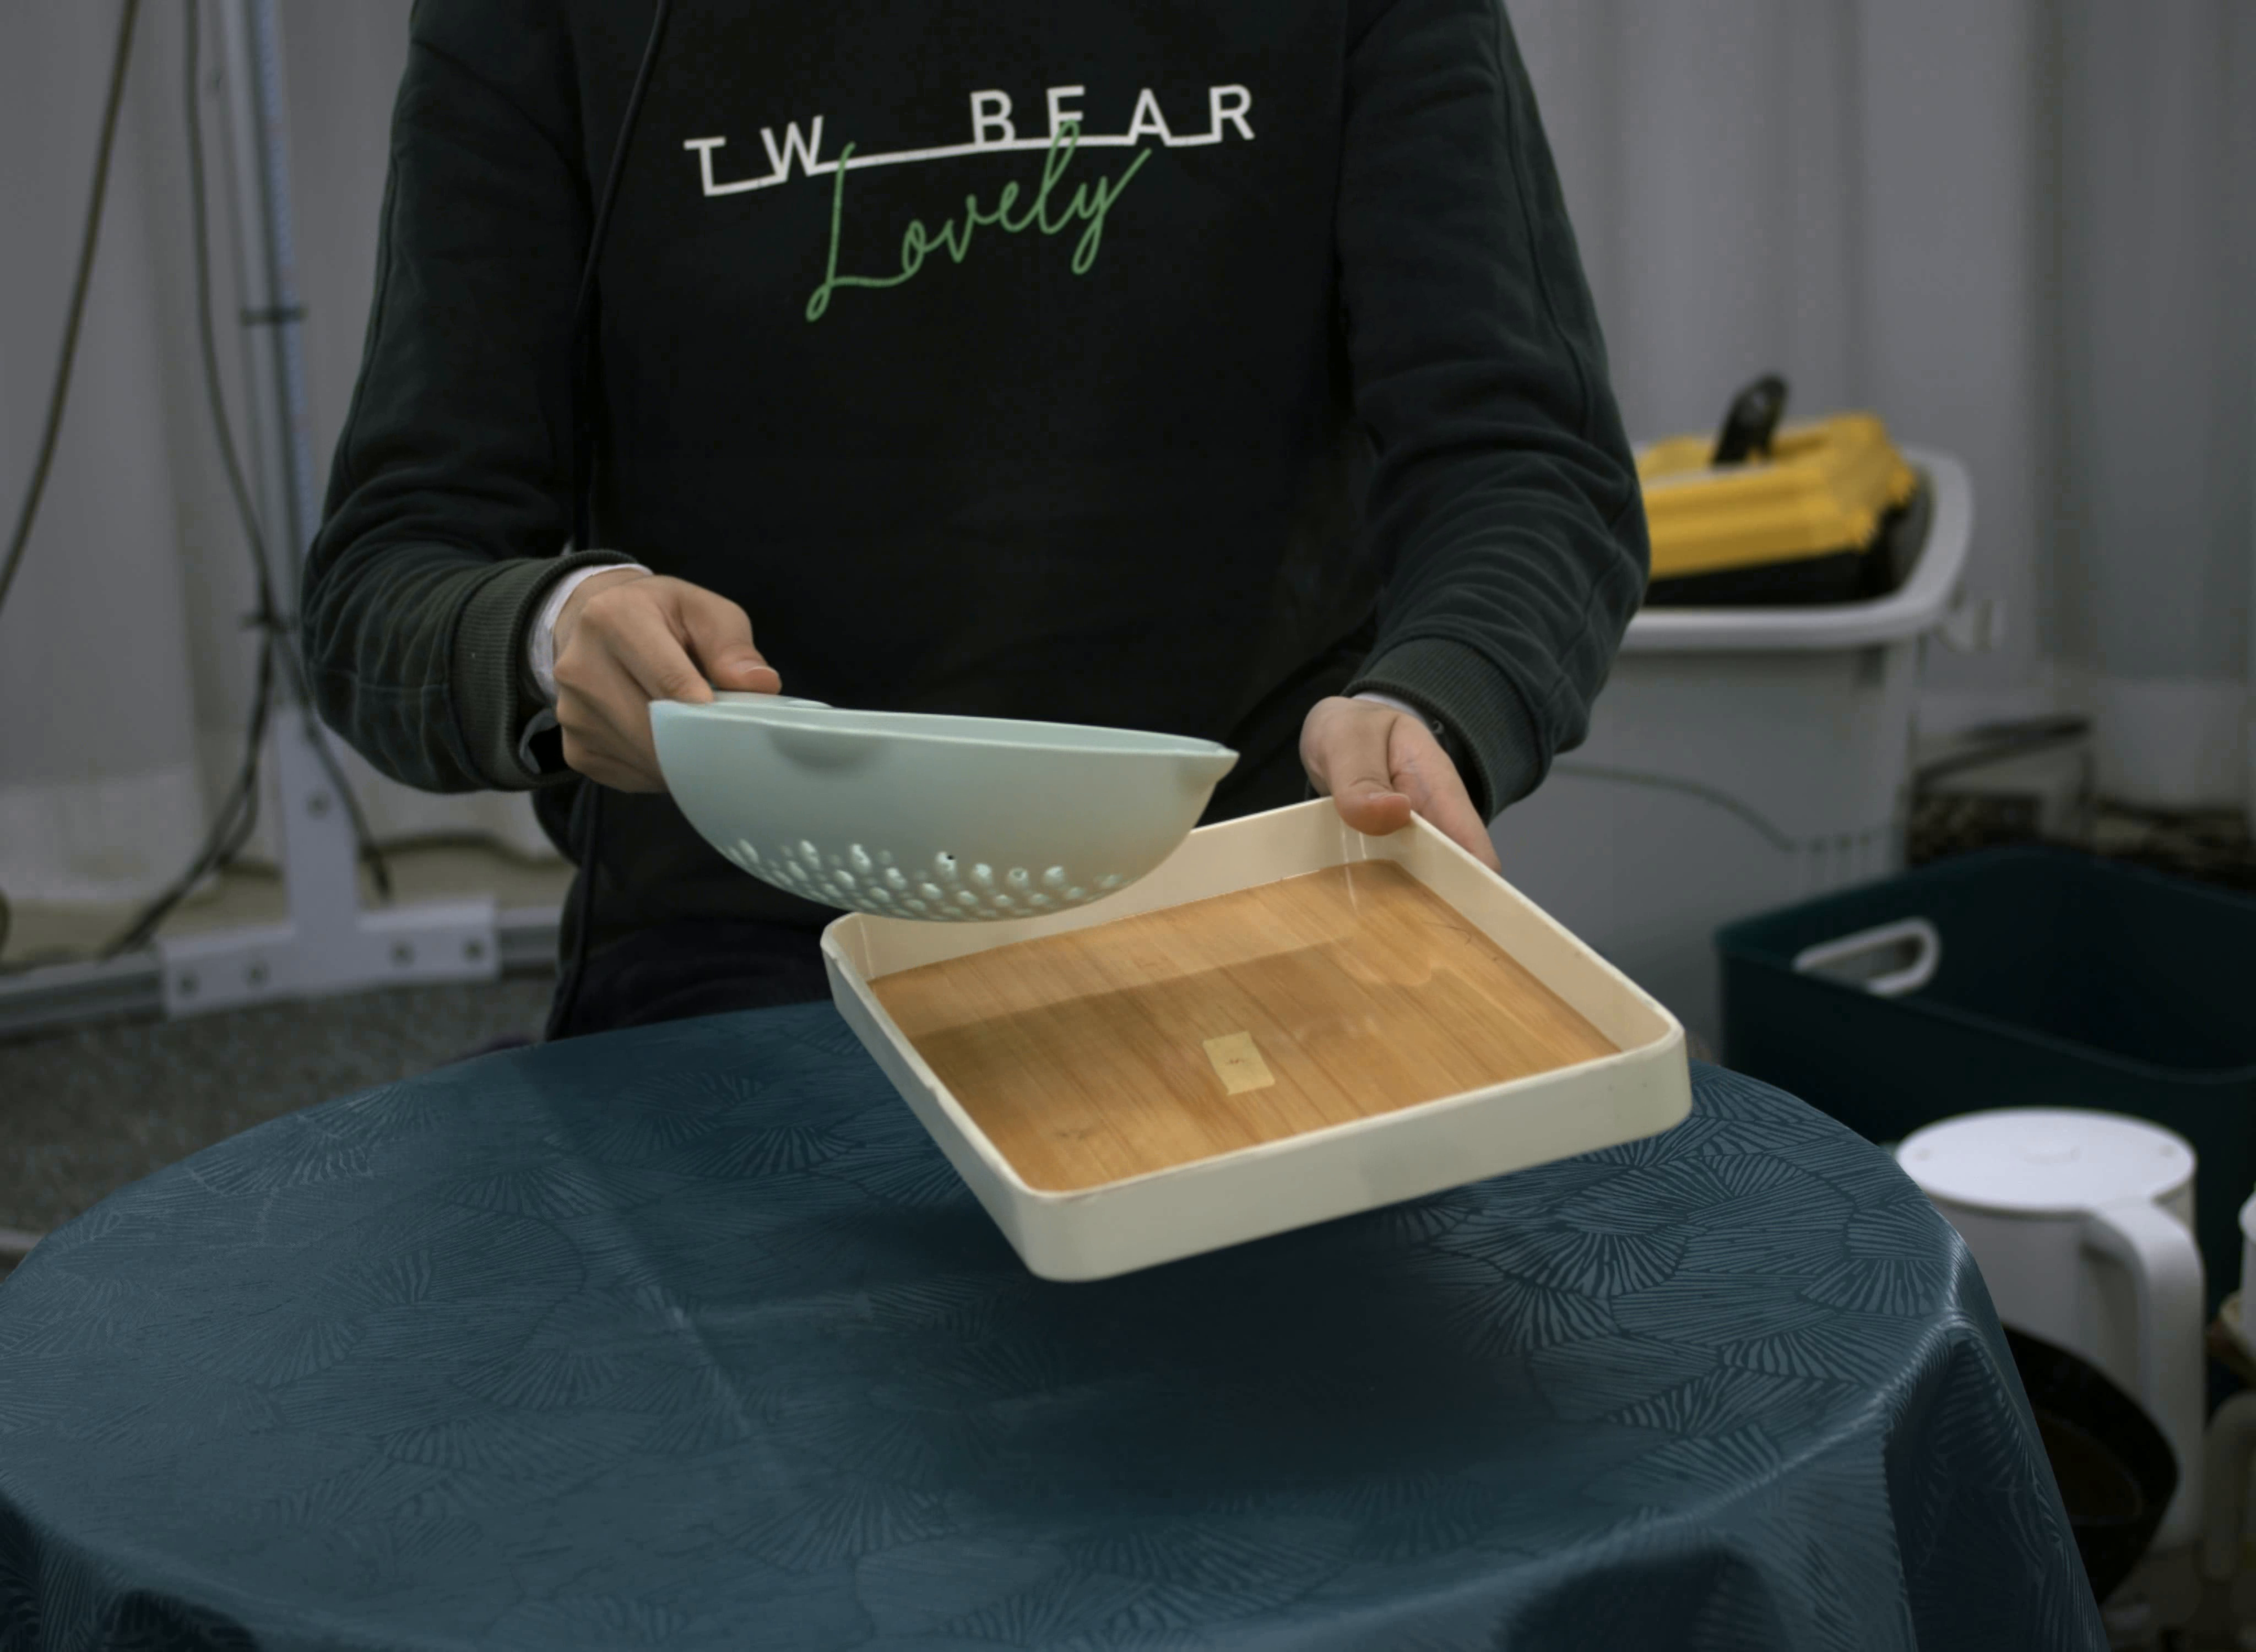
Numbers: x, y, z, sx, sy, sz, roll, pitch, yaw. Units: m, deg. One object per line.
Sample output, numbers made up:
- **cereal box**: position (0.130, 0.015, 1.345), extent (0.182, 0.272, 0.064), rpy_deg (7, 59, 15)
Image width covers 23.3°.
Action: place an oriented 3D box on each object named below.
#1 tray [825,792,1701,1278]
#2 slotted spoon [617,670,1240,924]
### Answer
- **tray**: position (0.031, 0.055, 1.586), extent (0.191, 0.027, 0.302), rpy_deg (-13, 17, -11)
- **slotted spoon**: position (-0.095, -0.025, 1.682), extent (0.168, 0.075, 0.361), rpy_deg (5, 11, -23)
